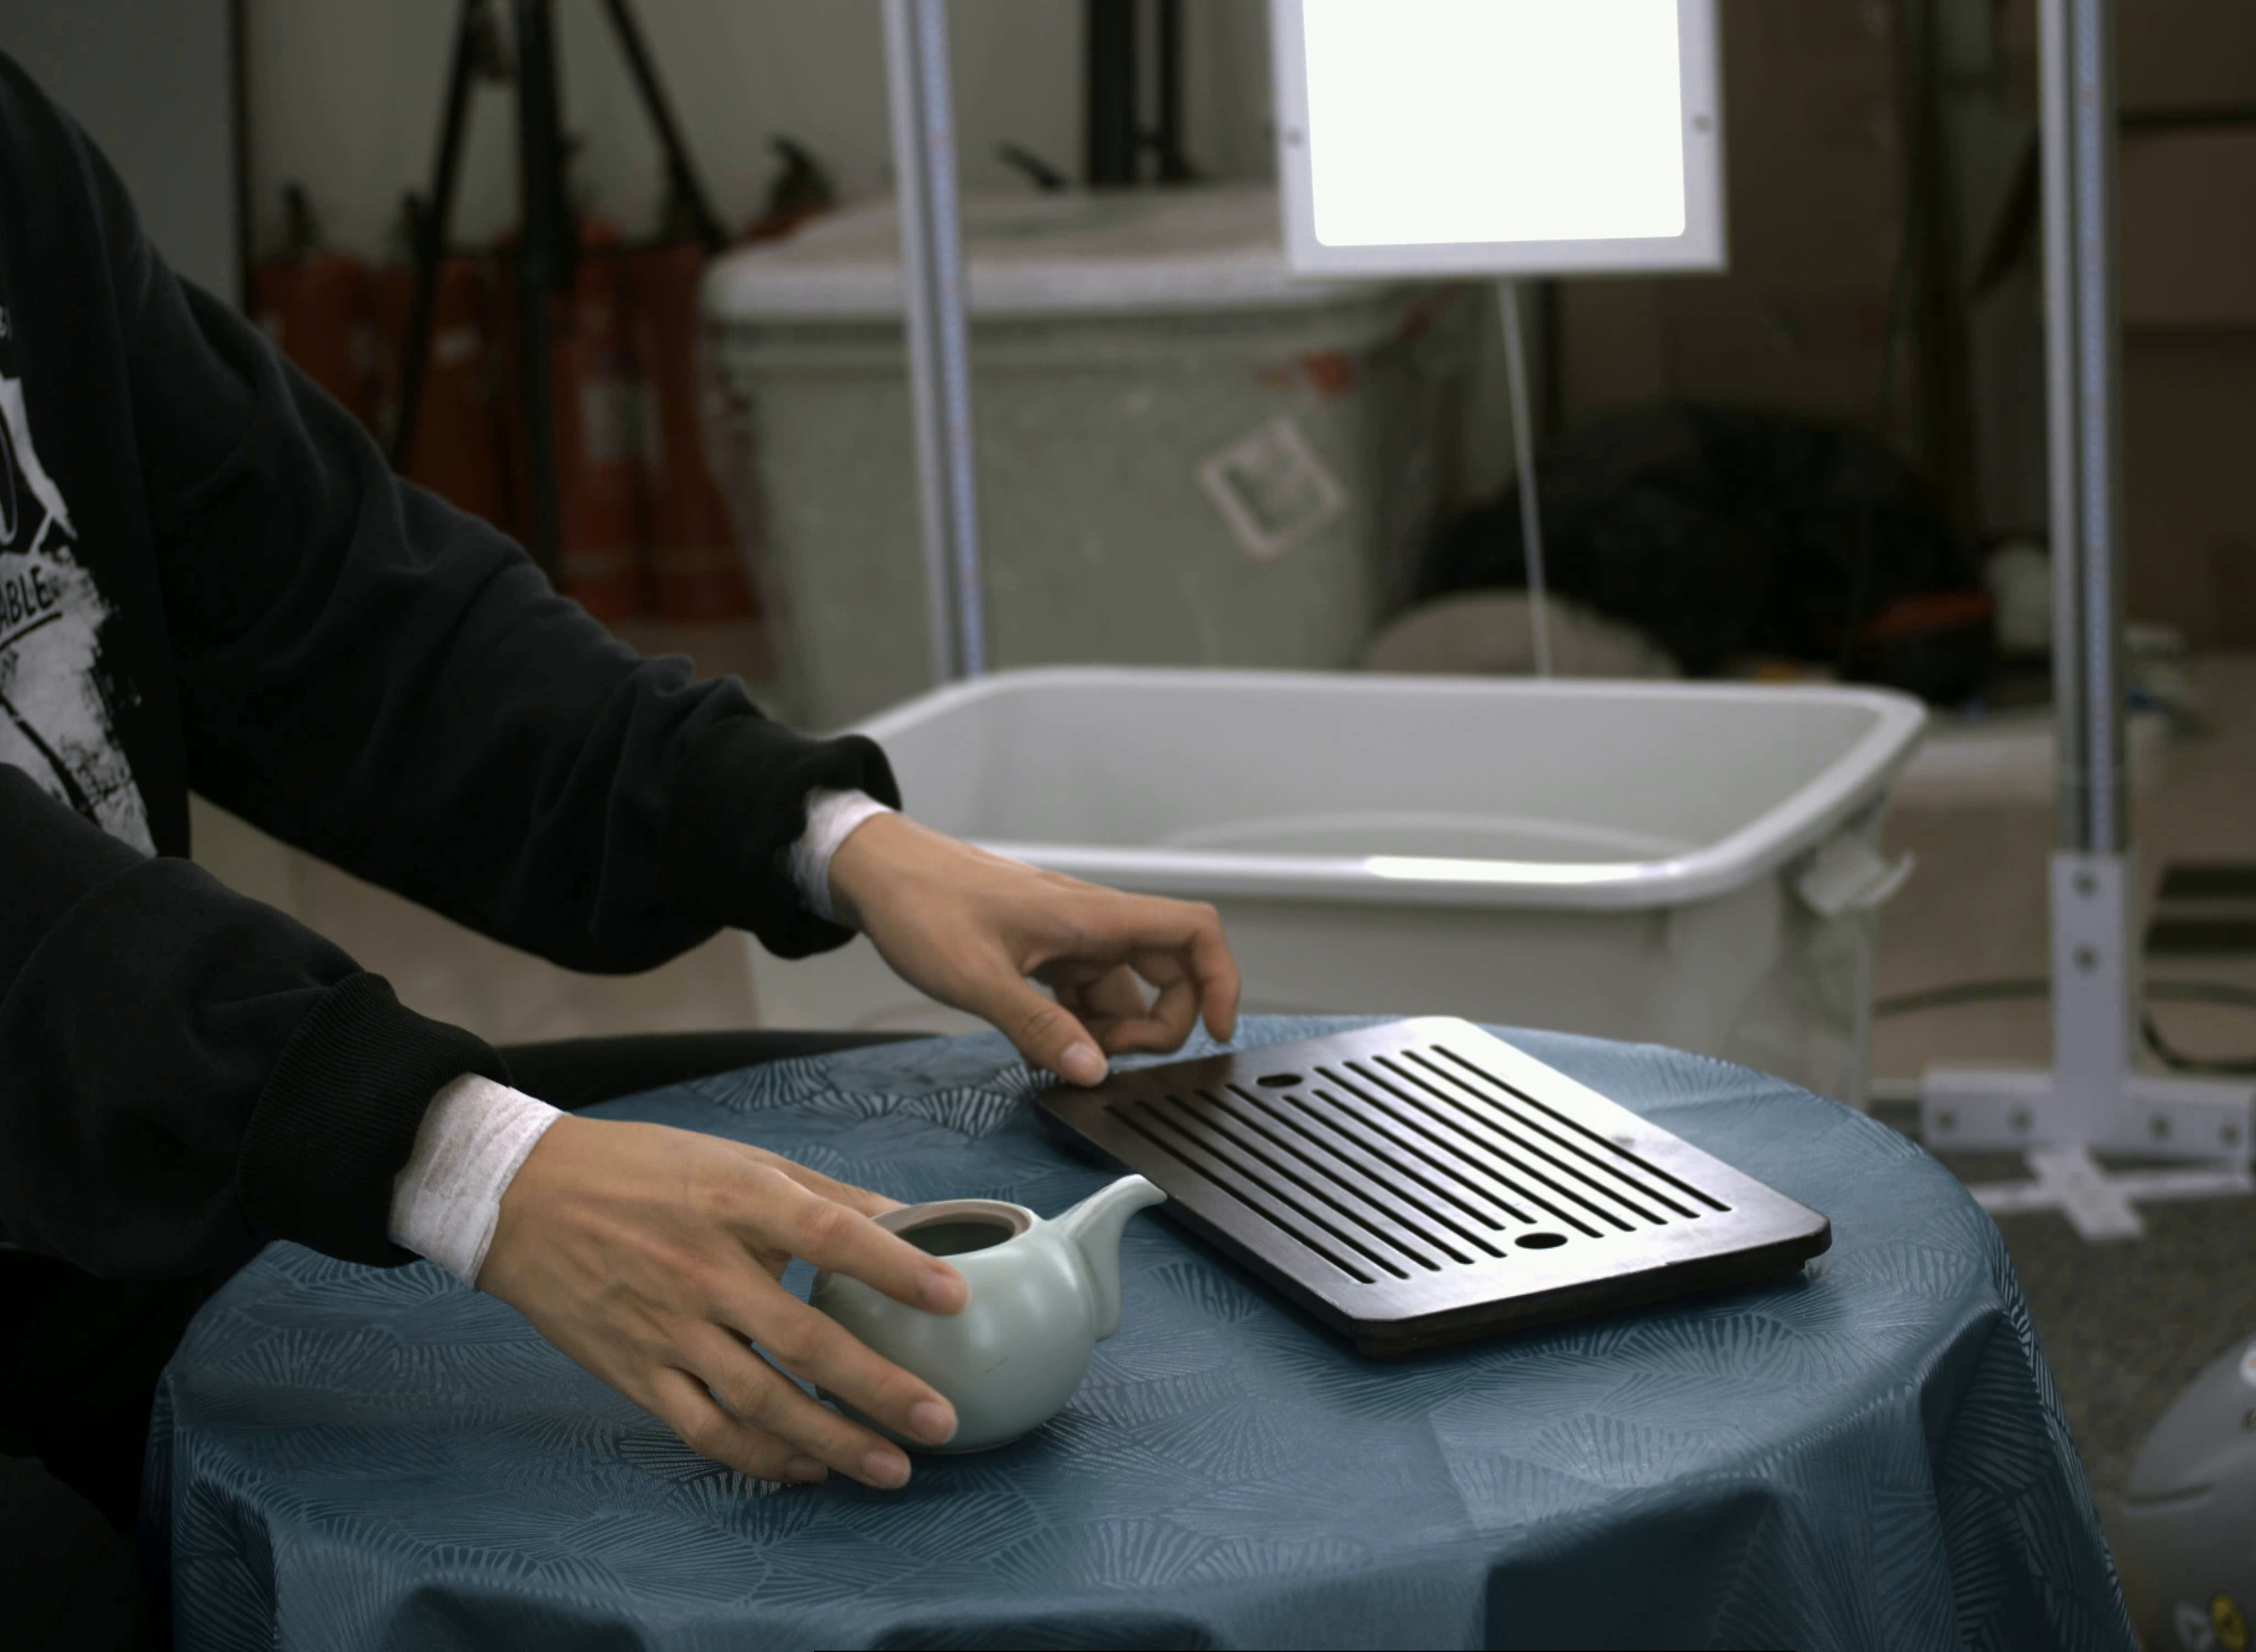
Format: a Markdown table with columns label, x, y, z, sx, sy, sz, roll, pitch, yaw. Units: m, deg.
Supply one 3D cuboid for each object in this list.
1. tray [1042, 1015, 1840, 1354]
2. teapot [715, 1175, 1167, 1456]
| label | x | y | z | sx | sy | sz | roll | pitch | yaw |
| --- | --- | --- | --- | --- | --- | --- | --- | --- | --- |
| tray | 0.099 | 0.118 | 1.860 | 0.167 | 0.019 | 0.310 | -10 | 14 | -19 |
| teapot | -0.055 | 0.150 | 1.672 | 0.142 | 0.075 | 0.089 | -6 | 14 | -14 |
